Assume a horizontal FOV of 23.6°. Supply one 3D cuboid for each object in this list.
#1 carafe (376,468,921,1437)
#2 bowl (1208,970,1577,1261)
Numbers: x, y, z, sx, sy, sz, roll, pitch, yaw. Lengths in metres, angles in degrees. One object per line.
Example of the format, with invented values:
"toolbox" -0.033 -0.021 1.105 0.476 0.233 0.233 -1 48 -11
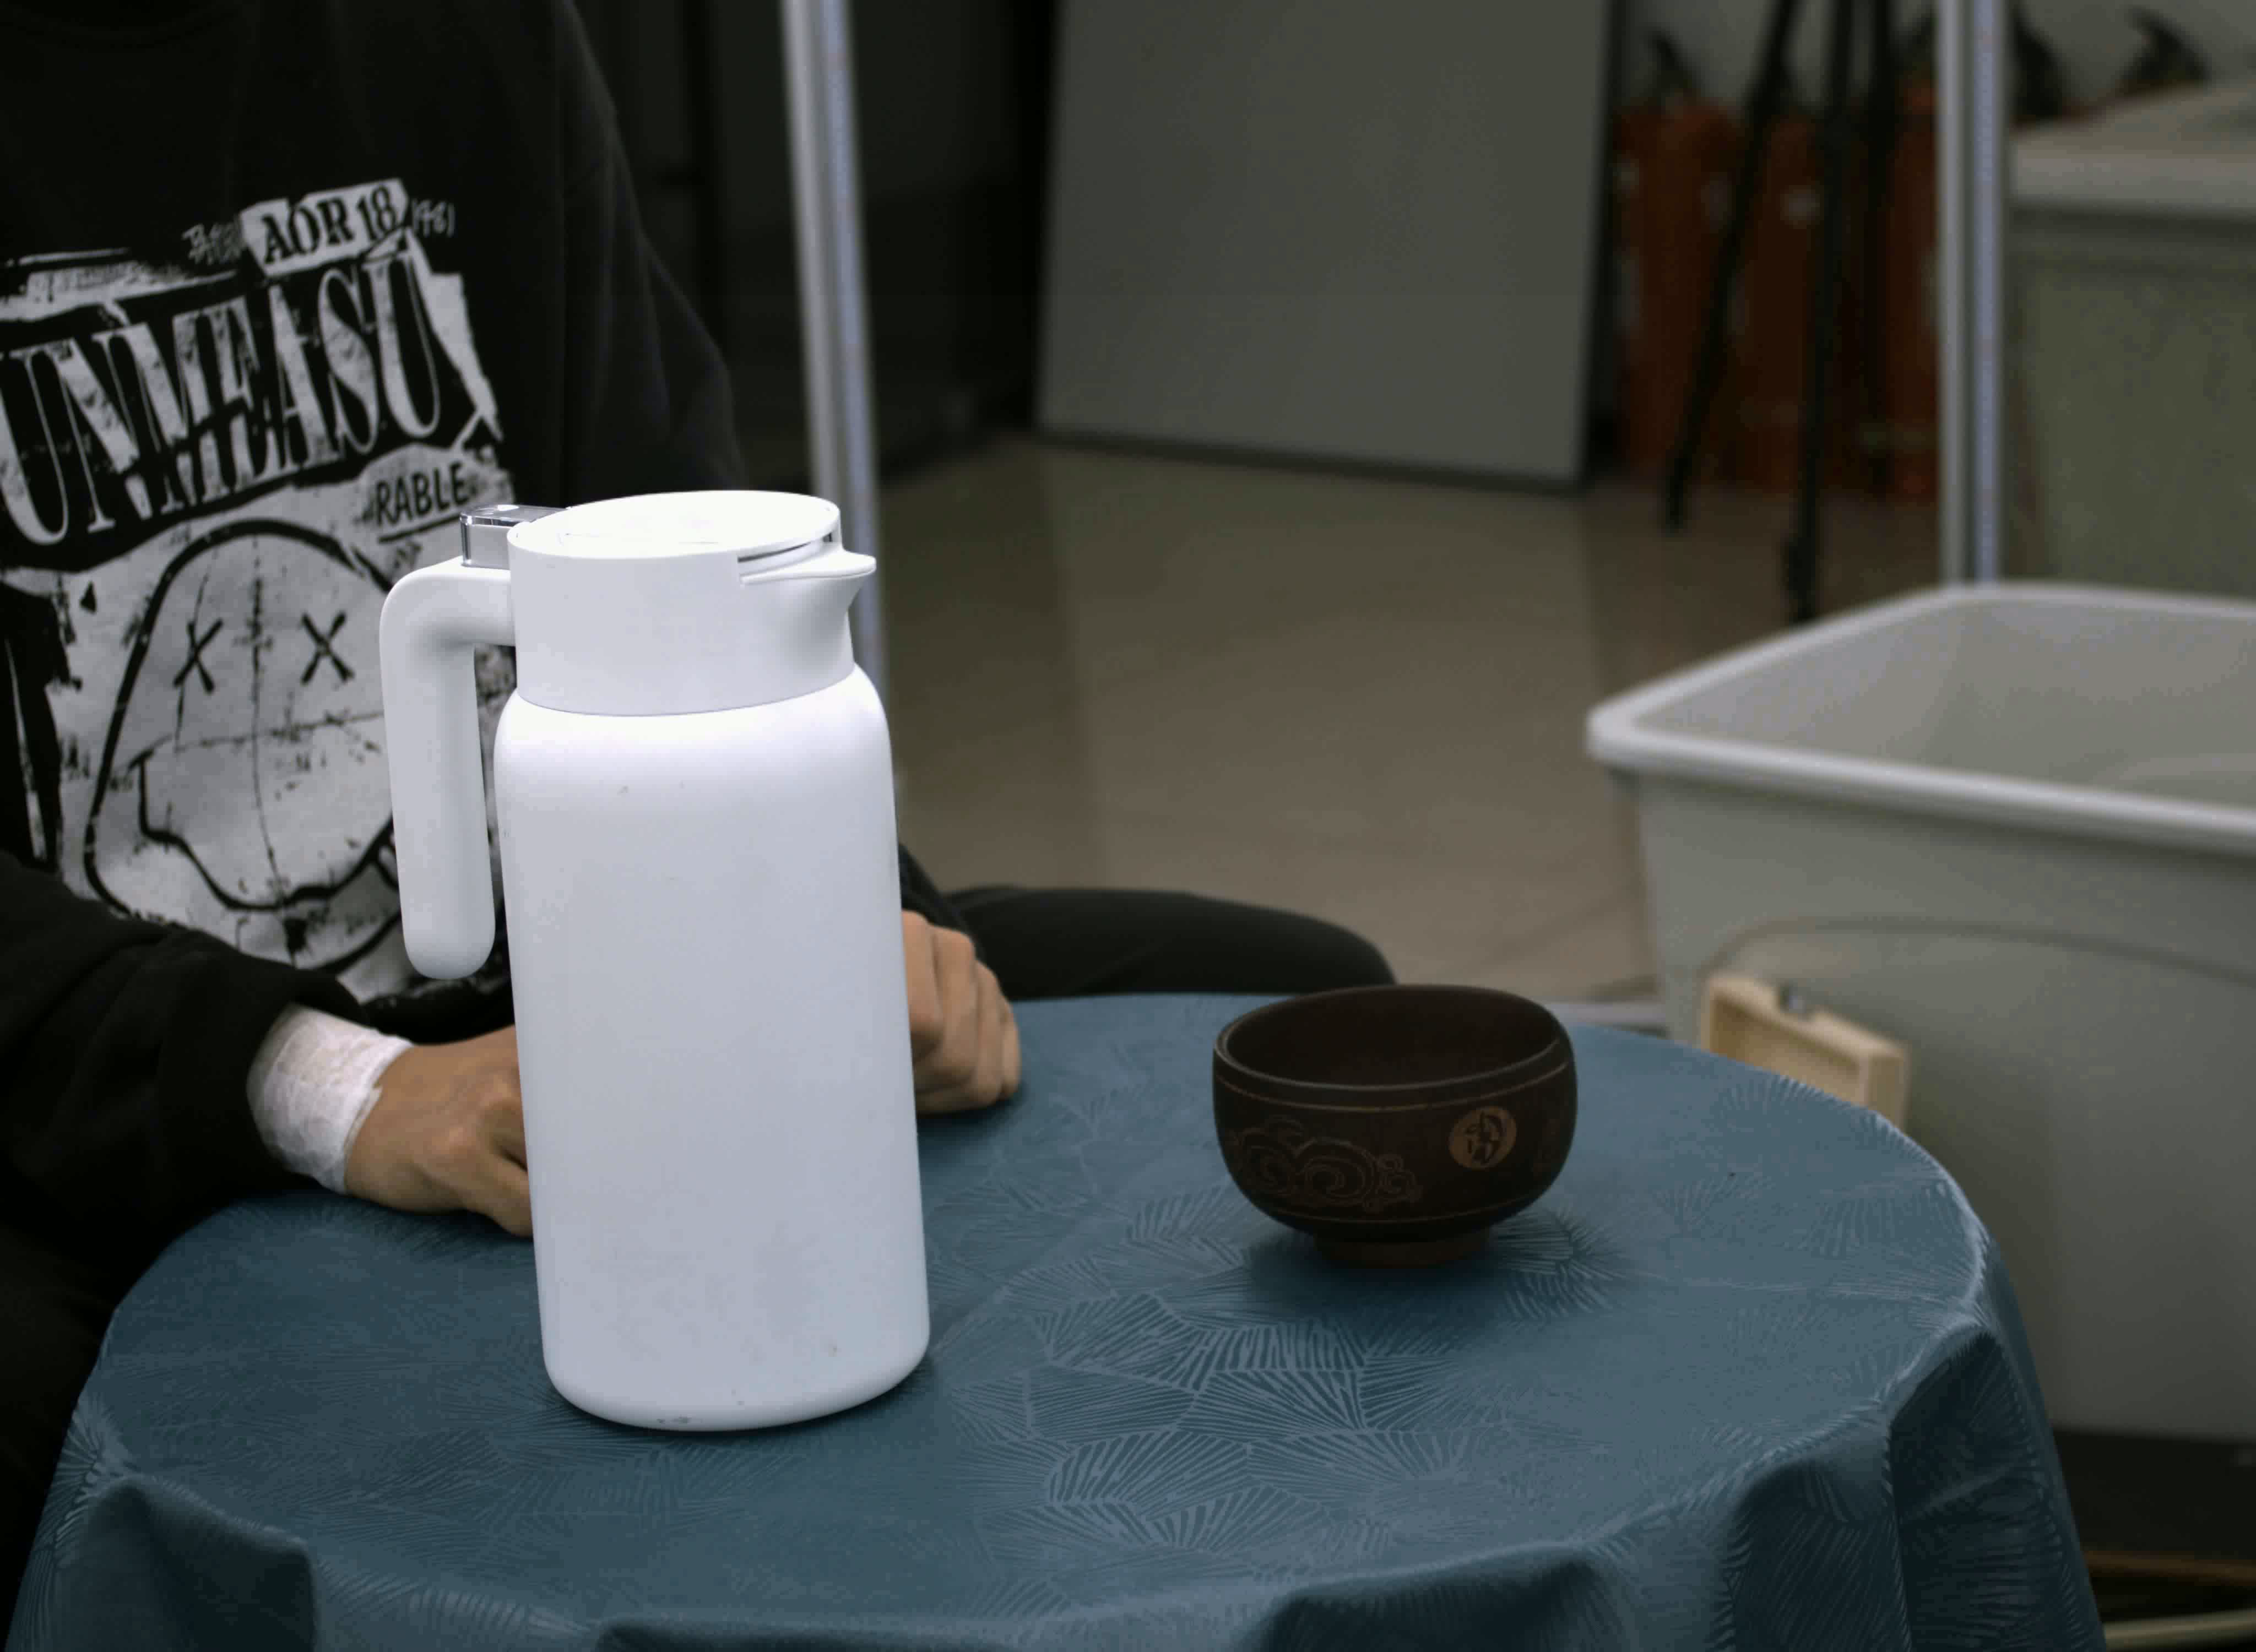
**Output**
"carafe" -0.141 0.036 1.604 0.173 0.272 0.122 4 17 30
"bowl" 0.084 0.095 1.698 0.116 0.070 0.118 -5 14 0
